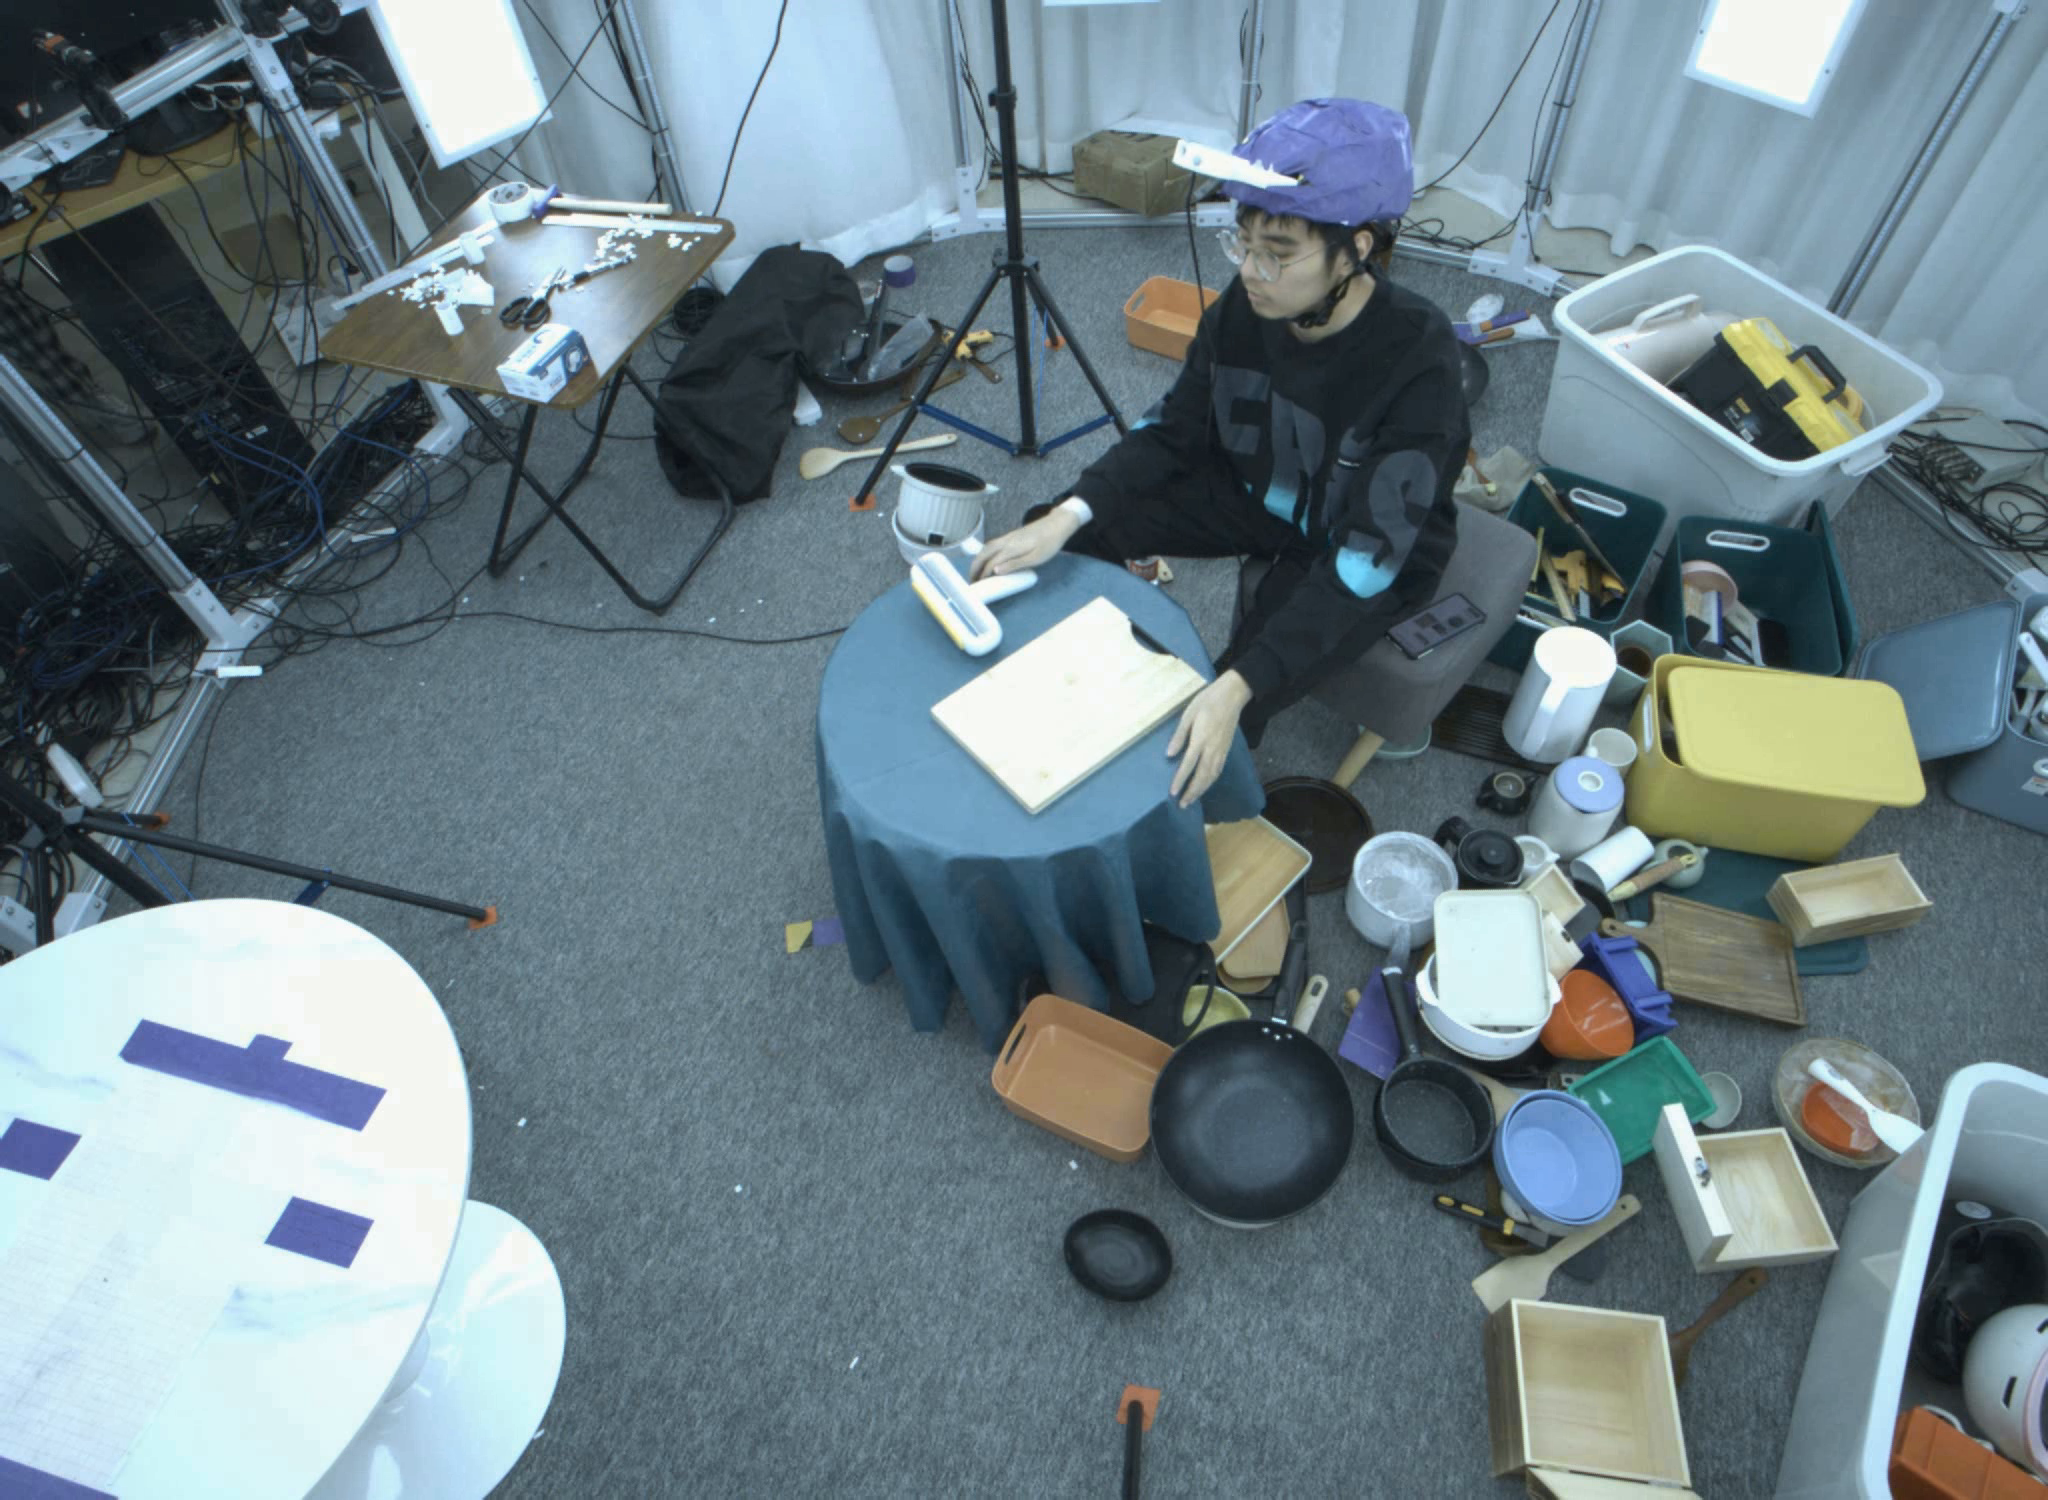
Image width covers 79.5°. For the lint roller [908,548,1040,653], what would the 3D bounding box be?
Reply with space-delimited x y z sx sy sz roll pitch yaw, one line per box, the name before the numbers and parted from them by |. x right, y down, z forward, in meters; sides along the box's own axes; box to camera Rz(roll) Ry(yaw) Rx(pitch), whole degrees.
lint roller | -0.062 -0.253 1.923 0.194 0.075 0.189 -27 63 -18

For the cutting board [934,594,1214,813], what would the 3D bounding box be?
cutting board | 0.071 -0.079 1.827 0.351 0.024 0.246 -36 61 -21
